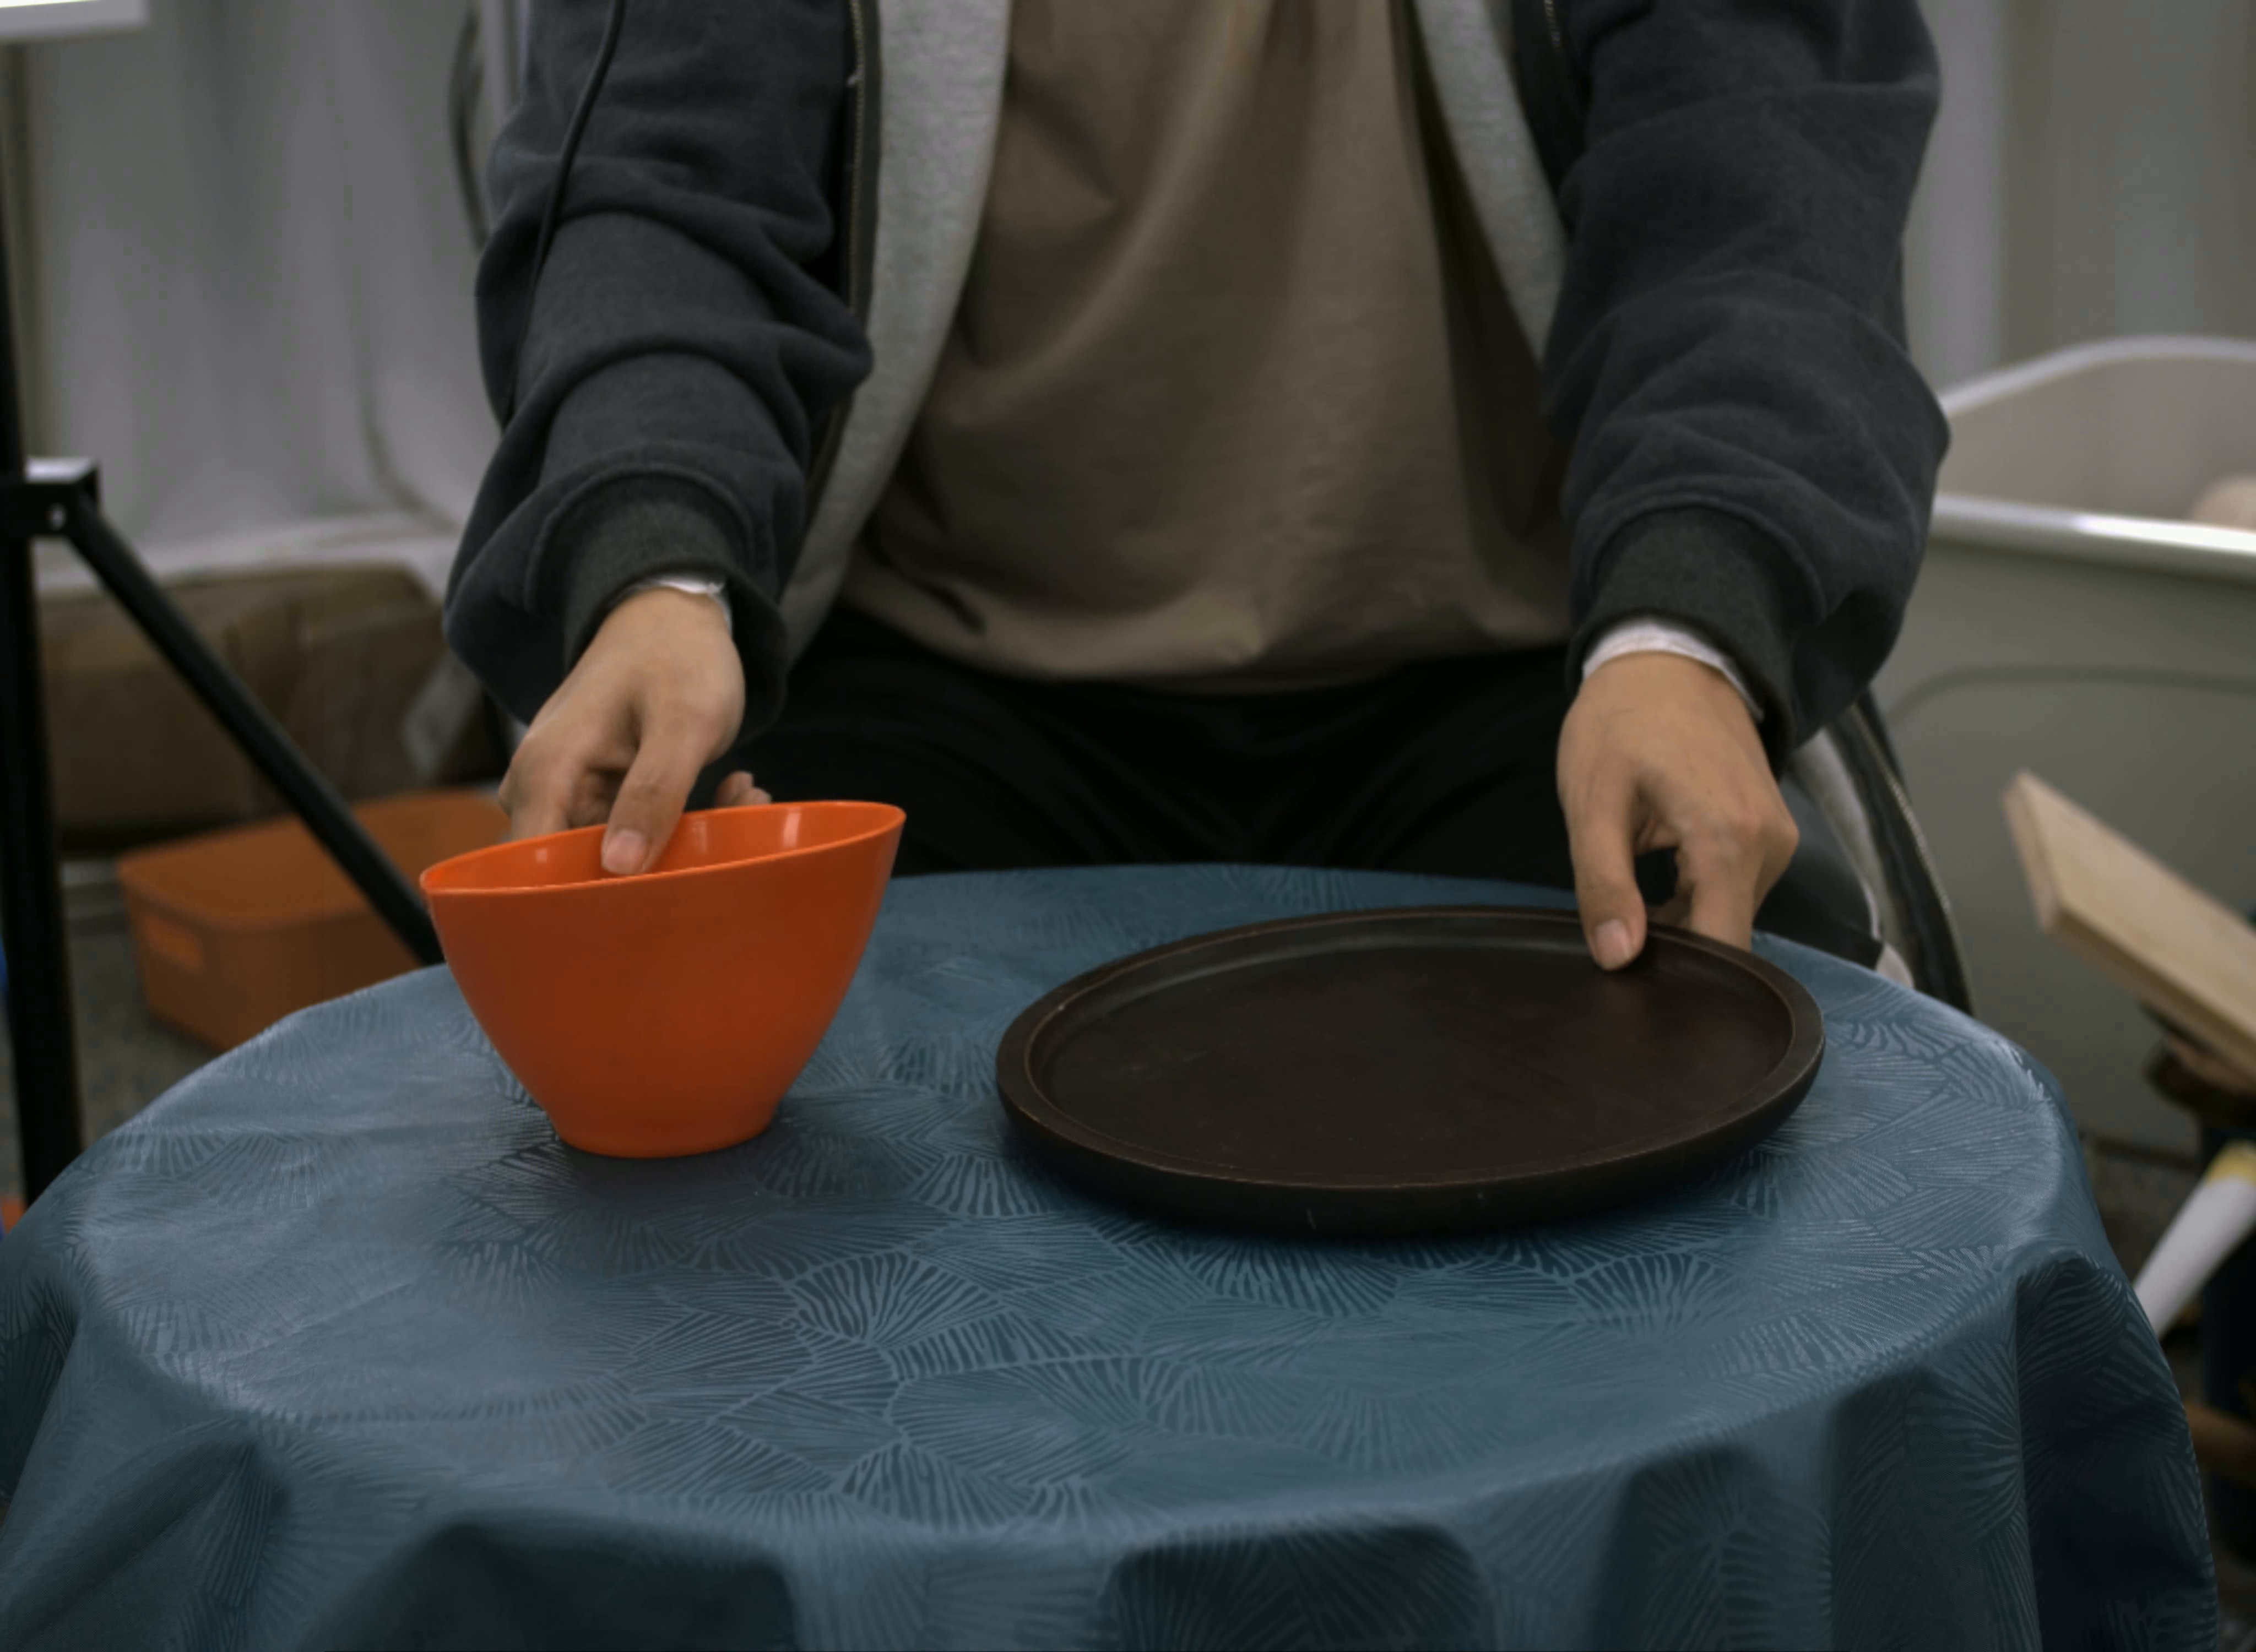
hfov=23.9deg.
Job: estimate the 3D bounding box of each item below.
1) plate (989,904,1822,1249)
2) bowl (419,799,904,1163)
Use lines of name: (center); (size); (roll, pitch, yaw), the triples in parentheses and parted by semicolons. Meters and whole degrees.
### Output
plate: (0.085, 0.074, 1.613); (0.253, 0.029, 0.256); (-5, 17, 0)
bowl: (-0.139, 0.046, 1.619); (0.147, 0.104, 0.149); (-3, 16, 0)
